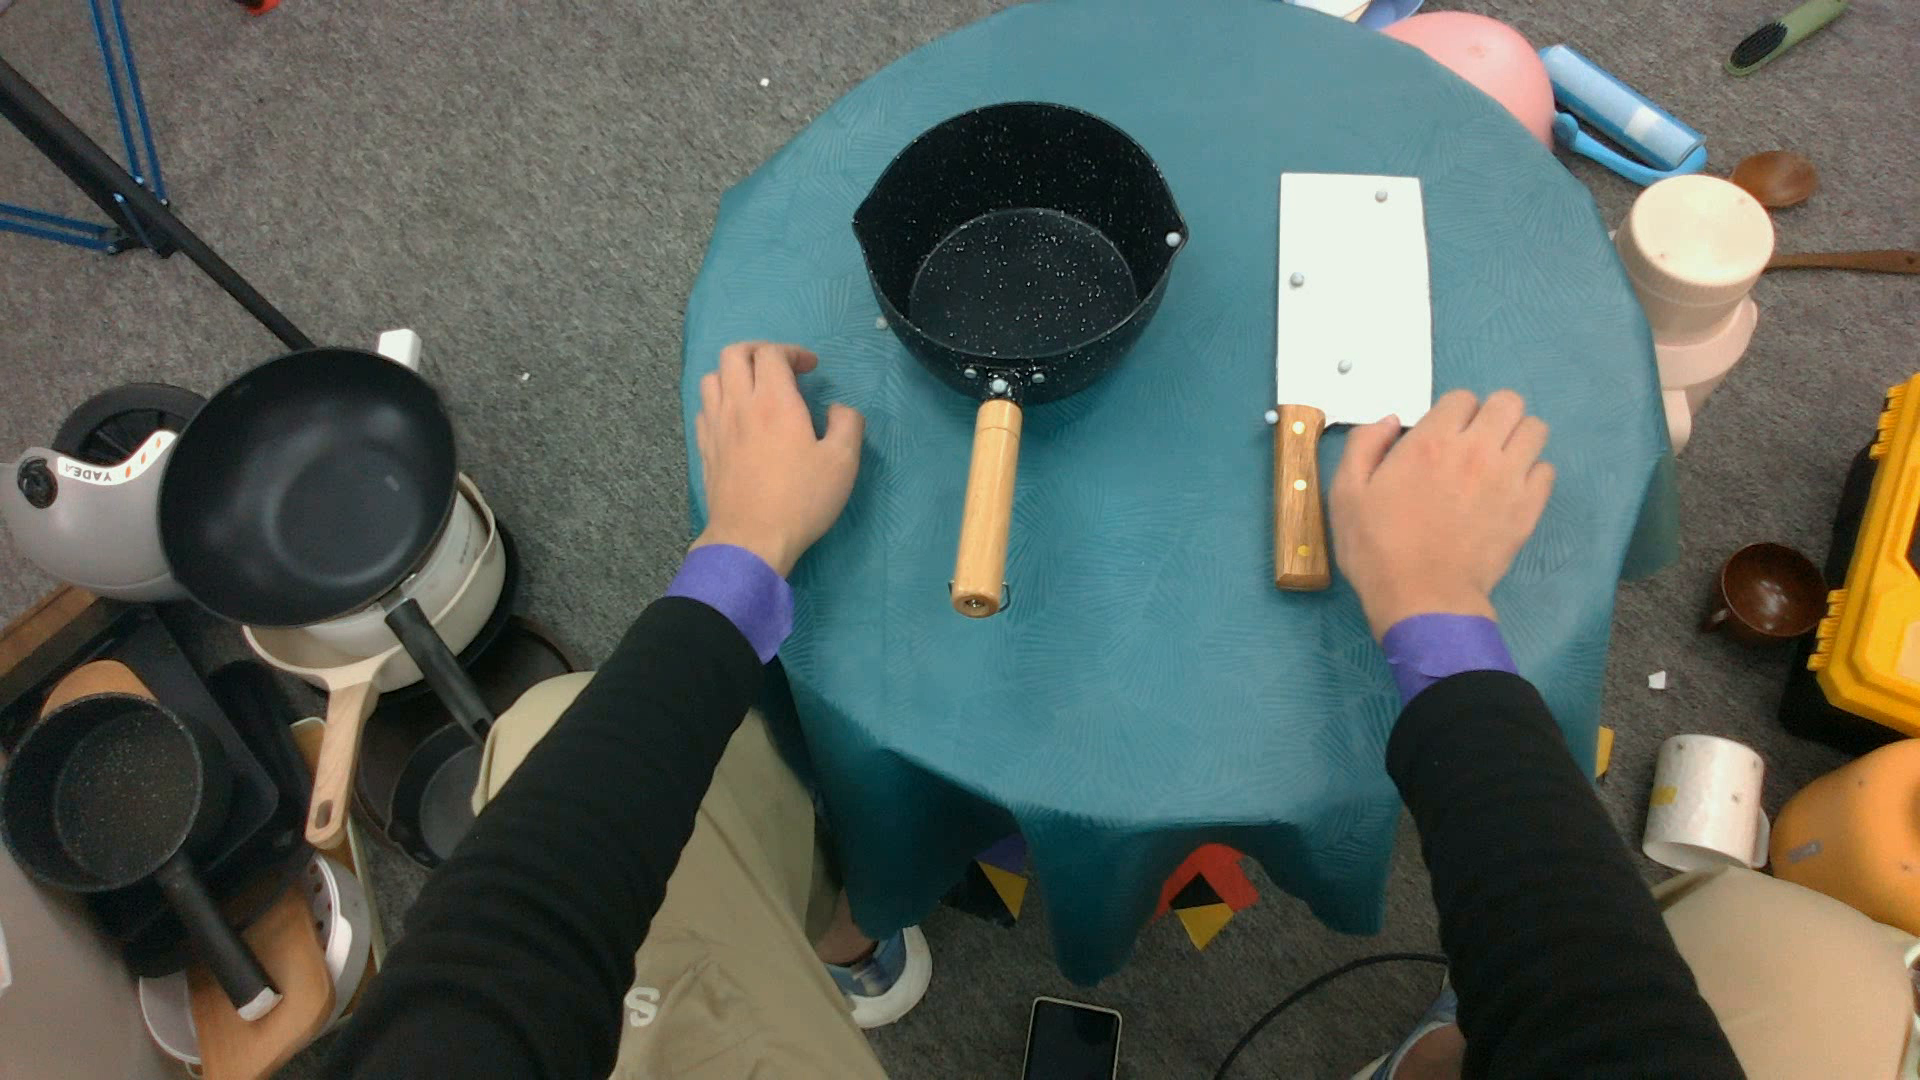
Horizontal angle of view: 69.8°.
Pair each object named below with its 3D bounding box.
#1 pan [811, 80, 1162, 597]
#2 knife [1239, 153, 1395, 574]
[{"bbox_3d":[0.012,-0.112,0.803,0.207,0.108,0.344,2,65,4],"label":"pan"},{"bbox_3d":[0.218,-0.118,0.842,0.093,0.021,0.307,3,64,4],"label":"knife"}]
